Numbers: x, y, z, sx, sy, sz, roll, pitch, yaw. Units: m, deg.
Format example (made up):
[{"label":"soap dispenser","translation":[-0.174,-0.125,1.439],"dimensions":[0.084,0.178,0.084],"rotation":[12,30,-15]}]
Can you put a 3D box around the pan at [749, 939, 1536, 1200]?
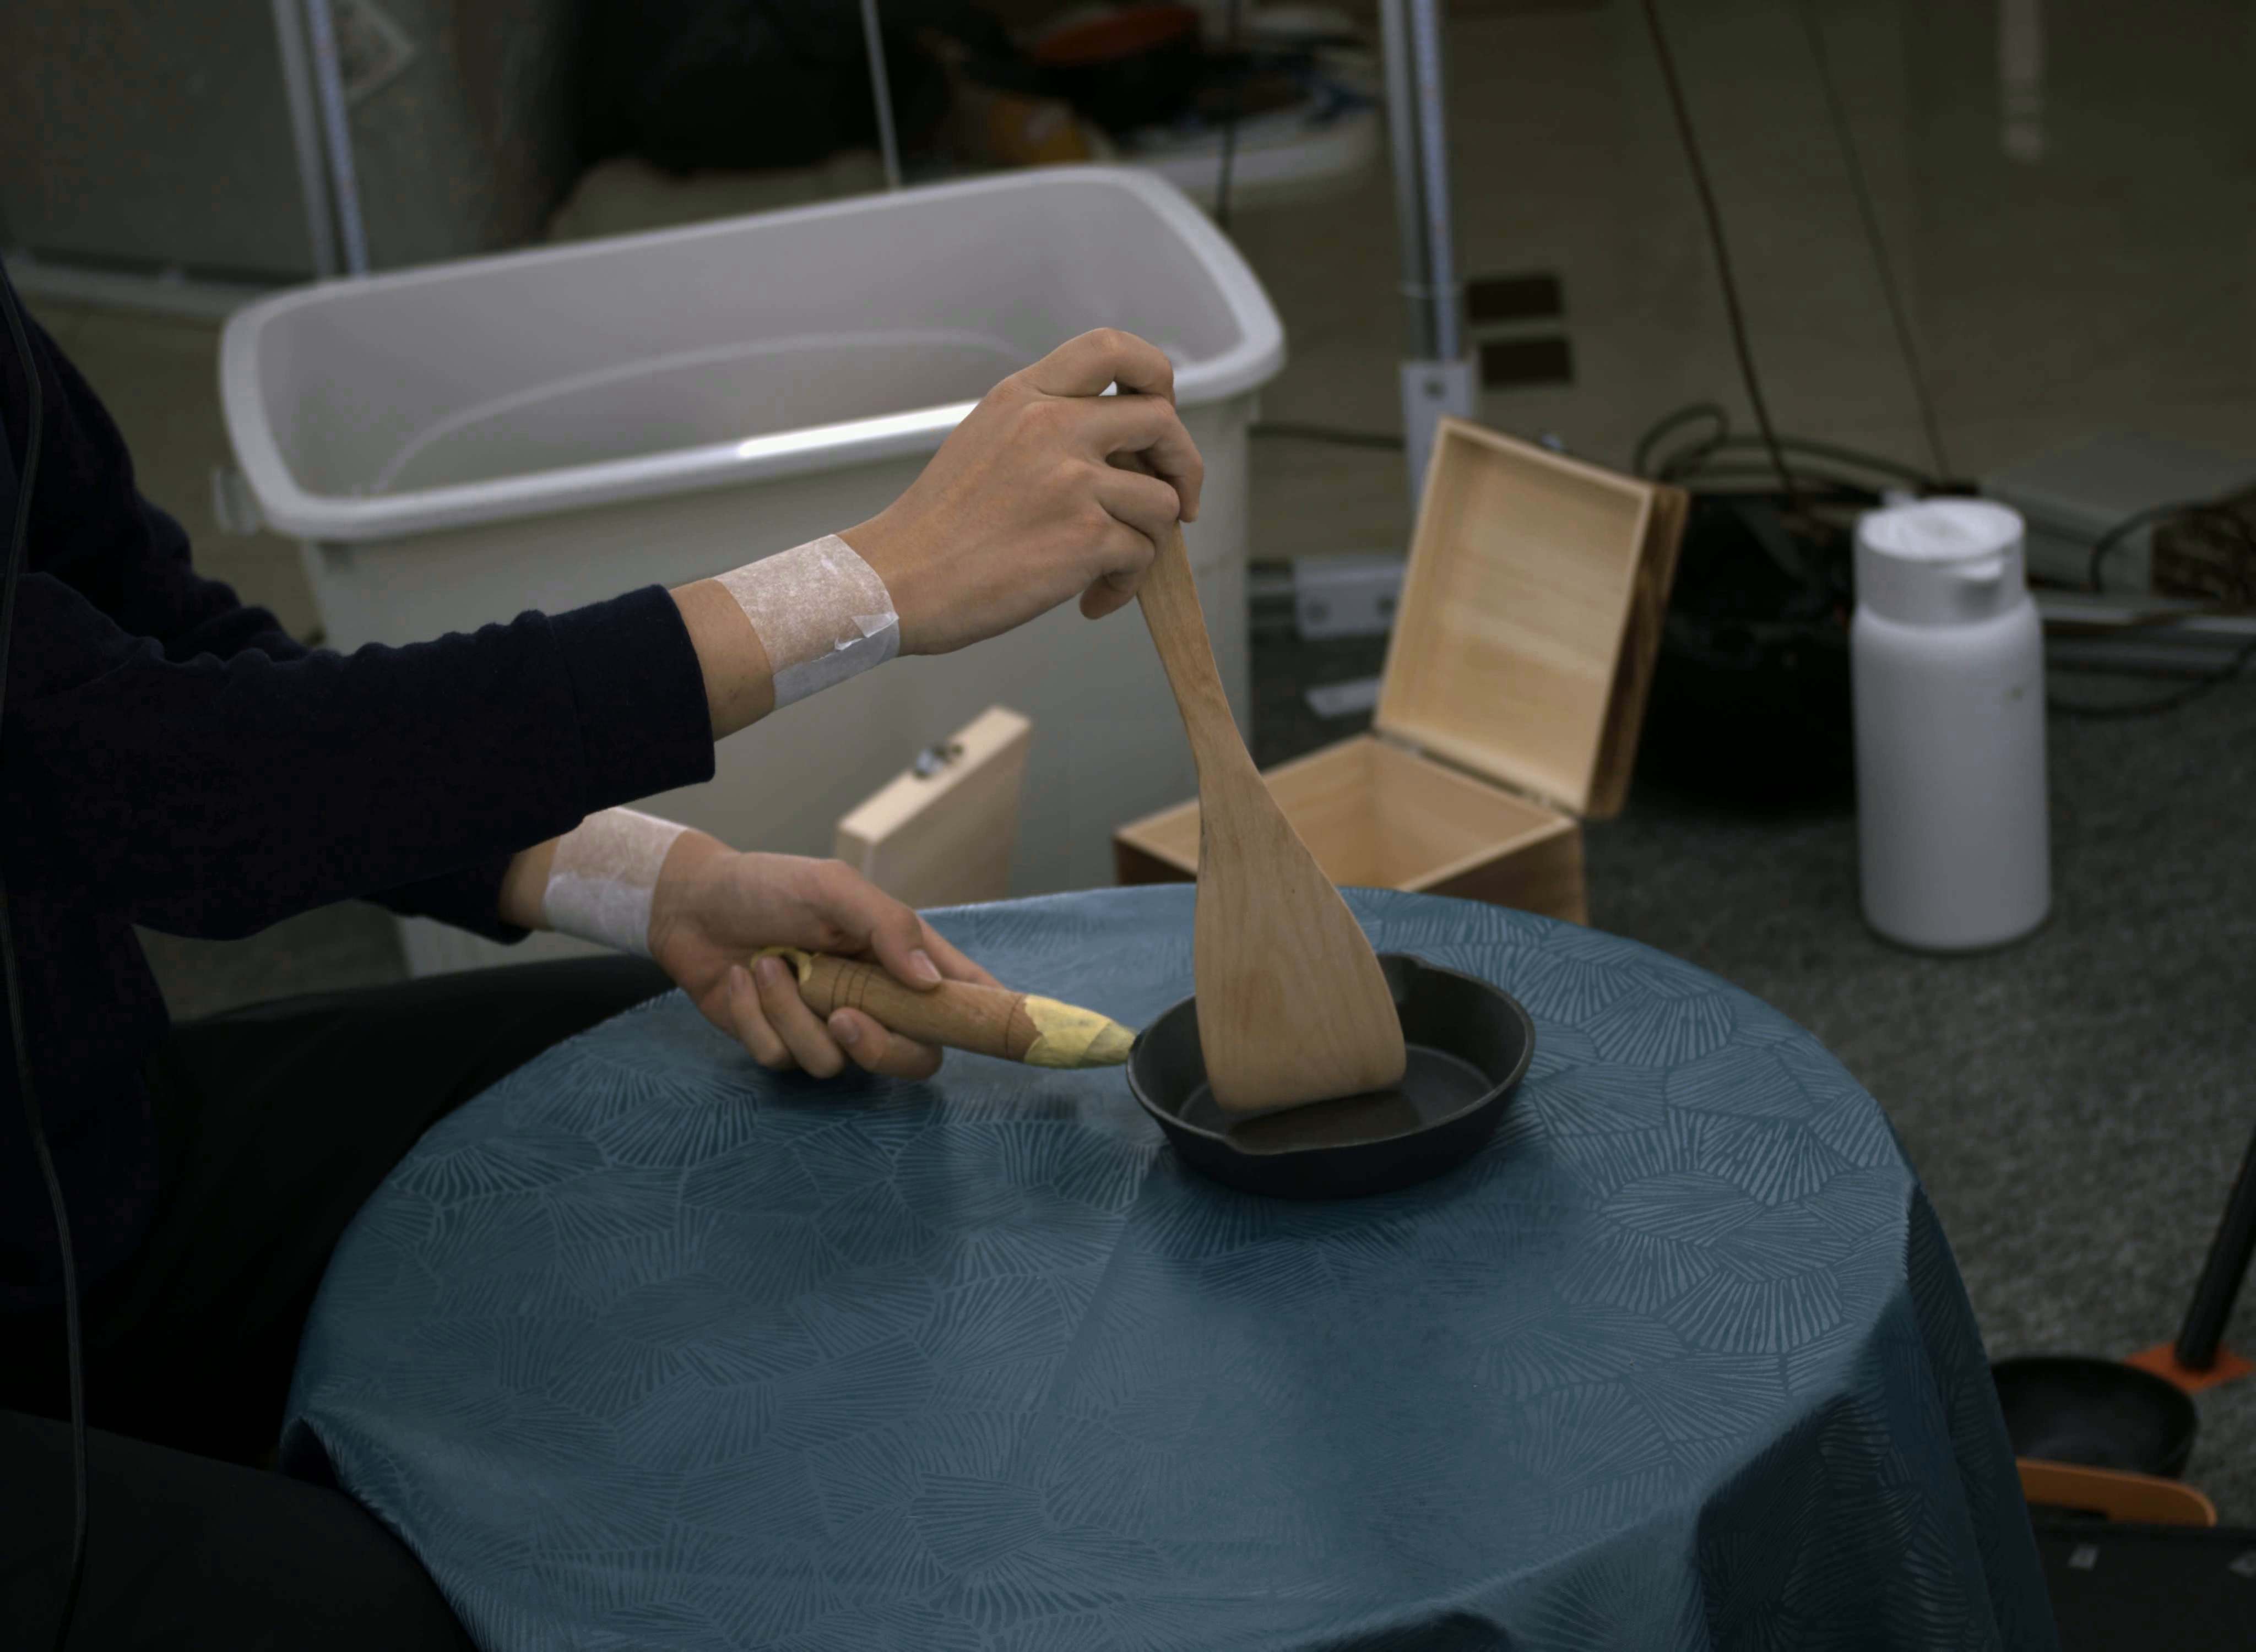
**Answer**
[{"label":"pan","translation":[0.001,0.085,2.202],"dimensions":[0.323,0.050,0.167],"rotation":[7,28,23]}]

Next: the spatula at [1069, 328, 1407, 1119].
[{"label":"spatula","translation":[0.030,-0.034,2.127],"dimensions":[0.080,0.332,0.016],"rotation":[-19,21,-5]}]
